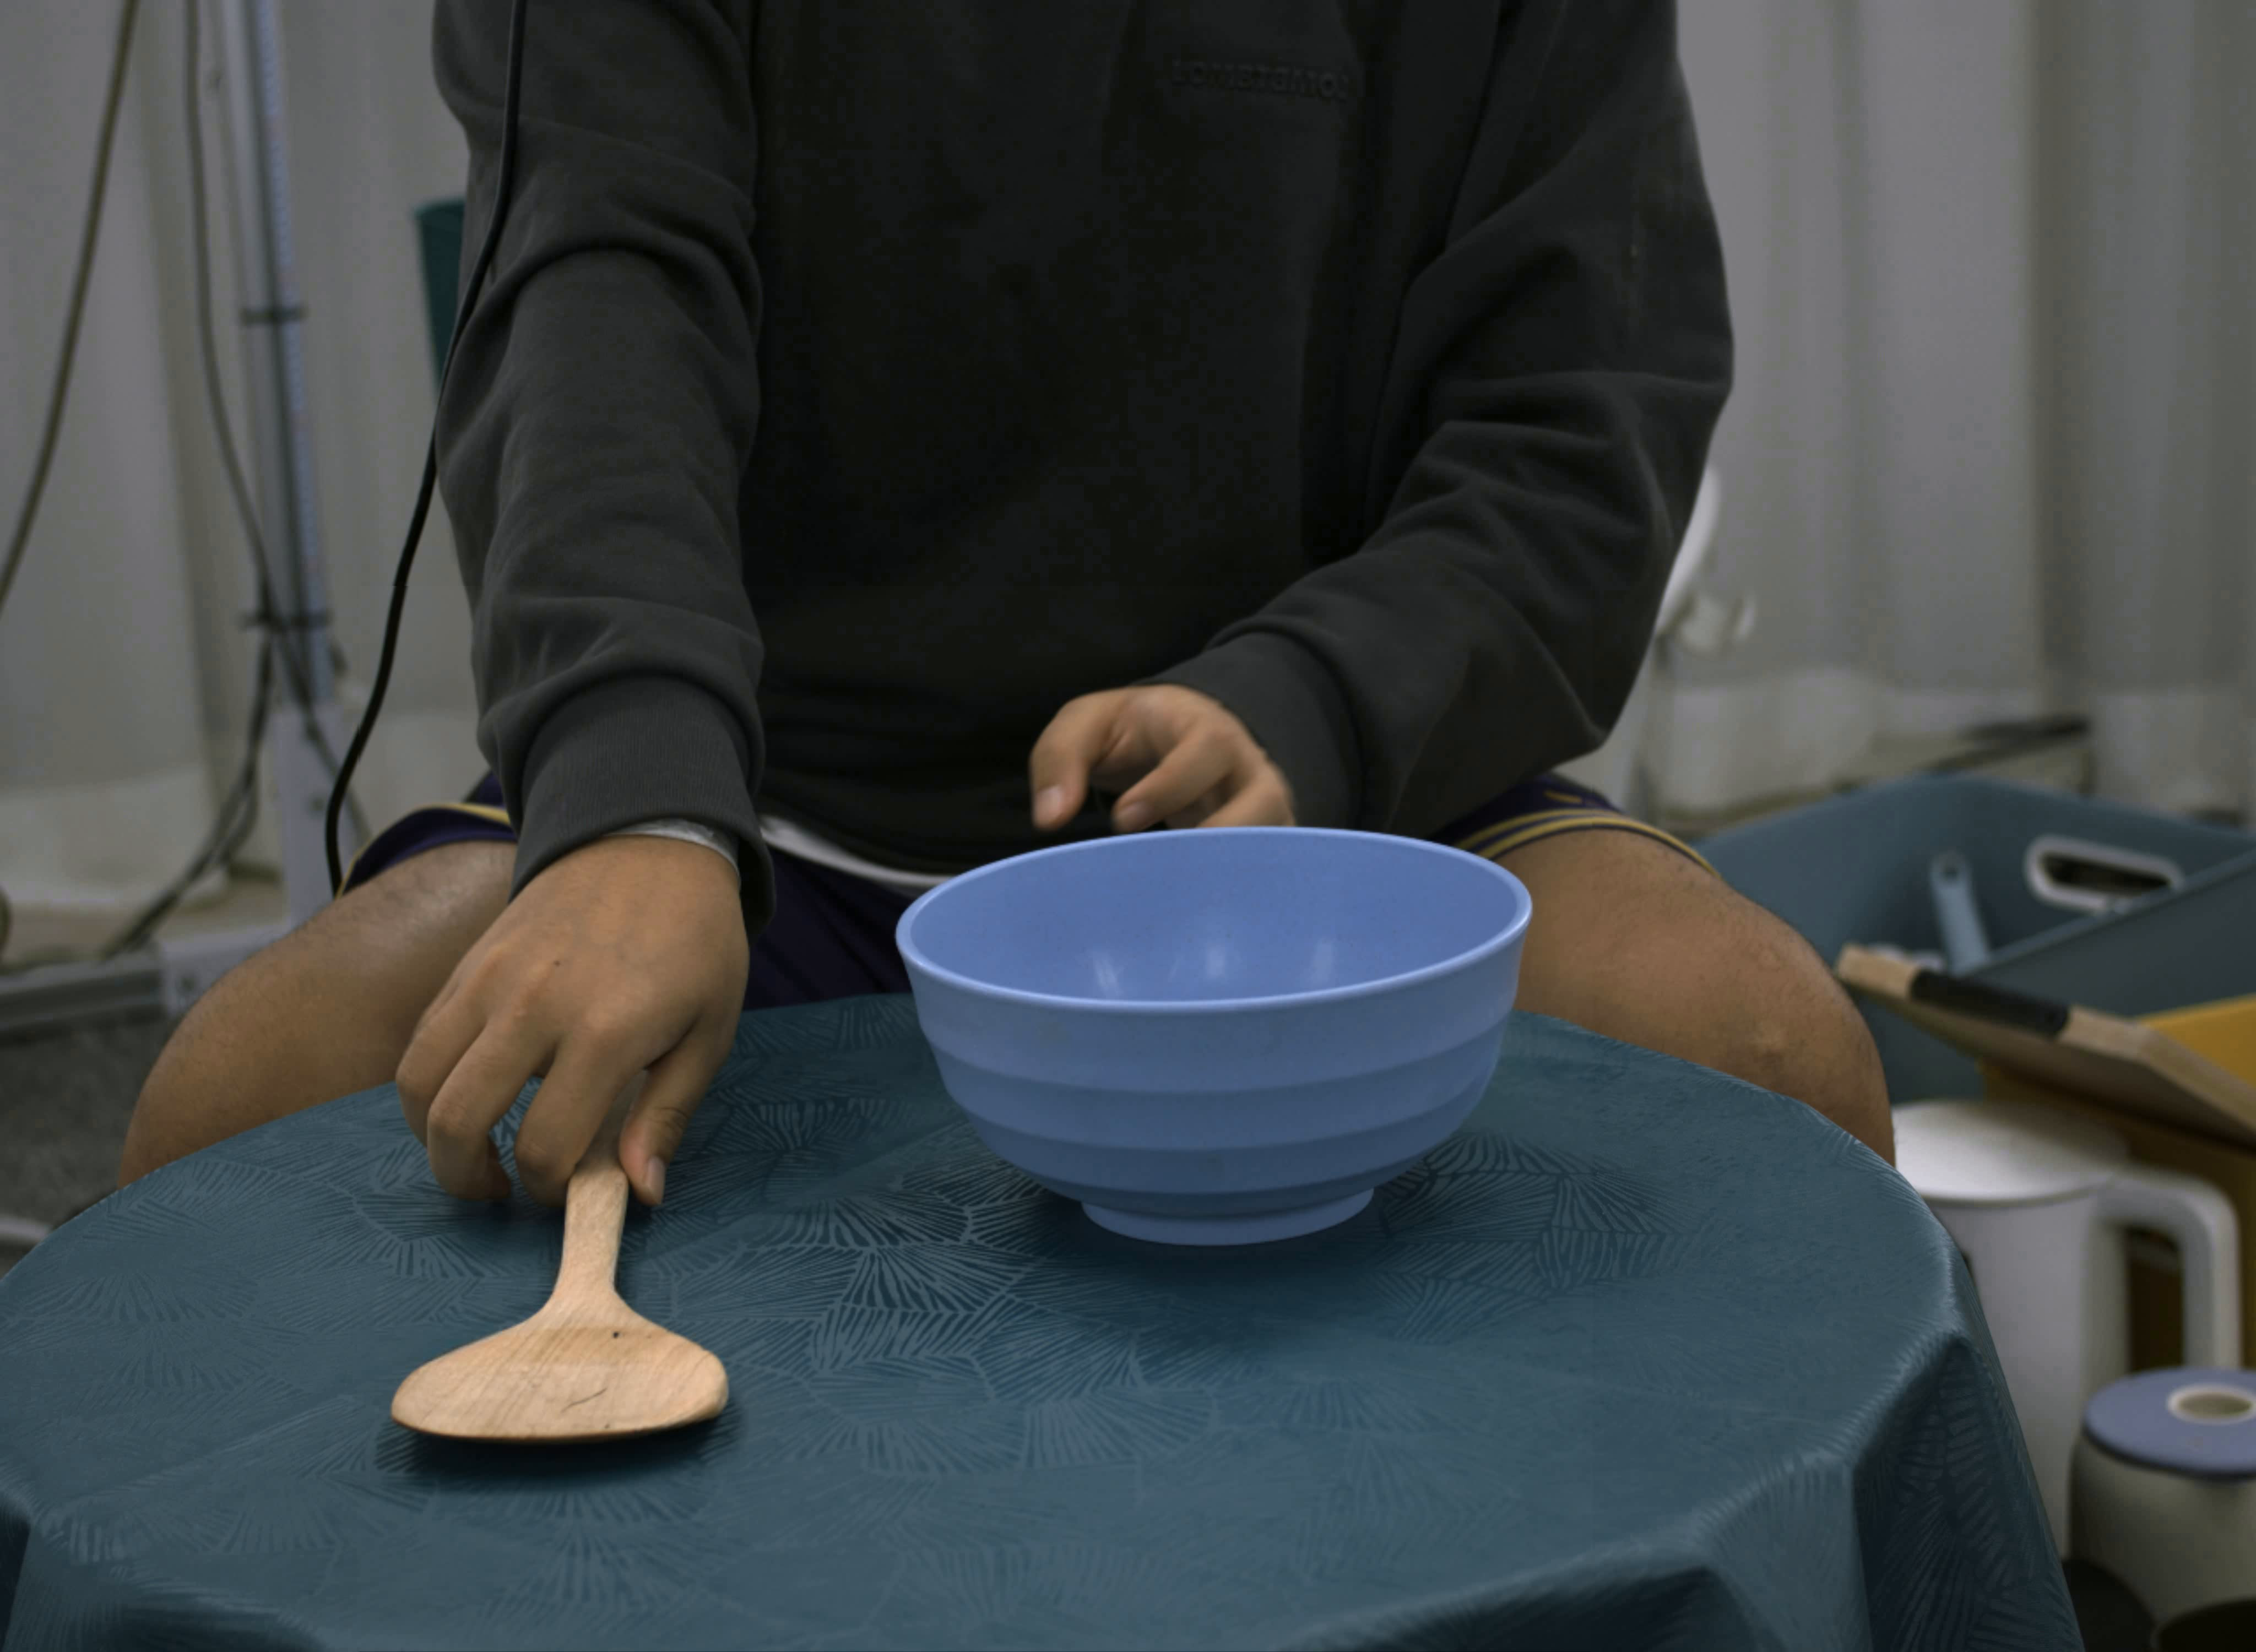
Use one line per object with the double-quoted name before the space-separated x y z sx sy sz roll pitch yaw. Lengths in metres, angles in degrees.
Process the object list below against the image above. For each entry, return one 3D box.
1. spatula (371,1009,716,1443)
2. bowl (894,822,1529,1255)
"spatula" -0.170 0.118 1.688 0.095 0.018 0.394 1 17 -3
"bowl" 0.029 0.072 1.695 0.196 0.095 0.198 -5 17 1
